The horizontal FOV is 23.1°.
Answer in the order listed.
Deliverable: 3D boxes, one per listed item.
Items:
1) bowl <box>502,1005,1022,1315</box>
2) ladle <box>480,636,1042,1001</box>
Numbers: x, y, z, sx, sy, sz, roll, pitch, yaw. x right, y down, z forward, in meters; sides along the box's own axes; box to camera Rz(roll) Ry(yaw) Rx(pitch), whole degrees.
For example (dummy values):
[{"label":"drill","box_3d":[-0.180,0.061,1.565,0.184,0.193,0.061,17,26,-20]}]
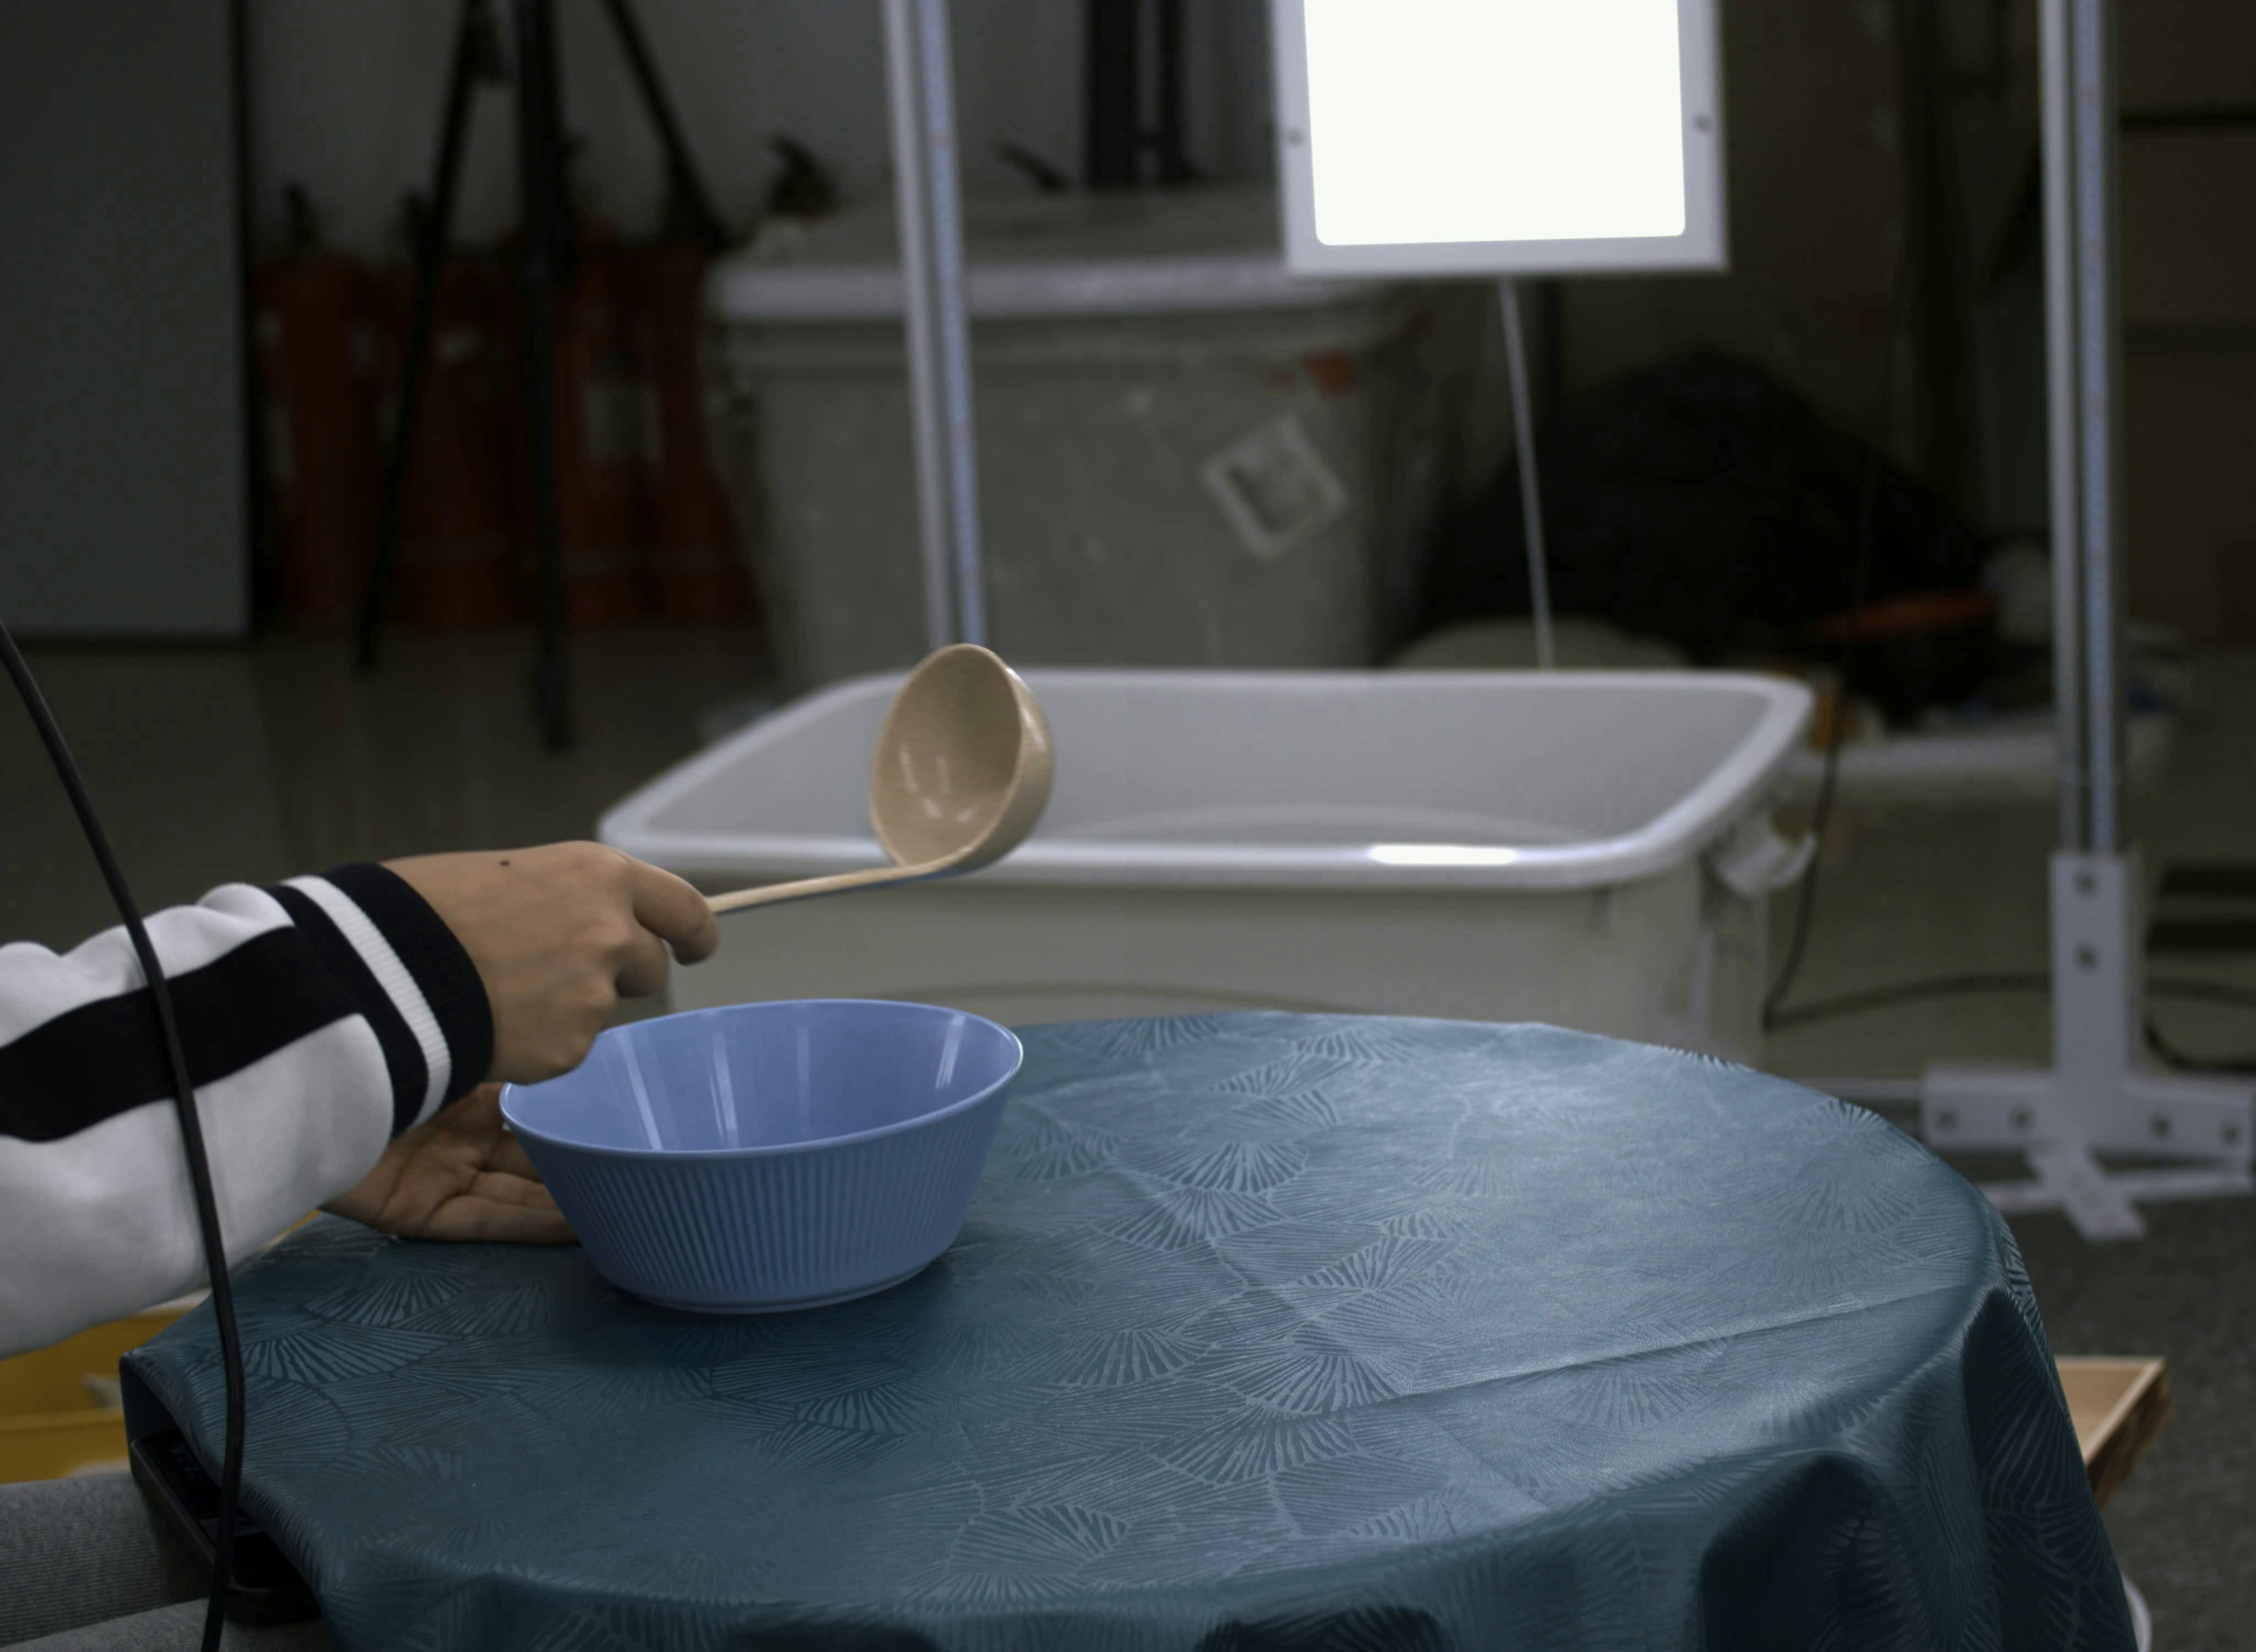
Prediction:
[{"label":"bowl","box_3d":[-0.120,0.114,1.846,0.175,0.070,0.176,-5,13,0]},{"label":"ladle","box_3d":[-0.119,-0.006,1.682,0.074,0.073,0.248,-18,-2,39]}]
